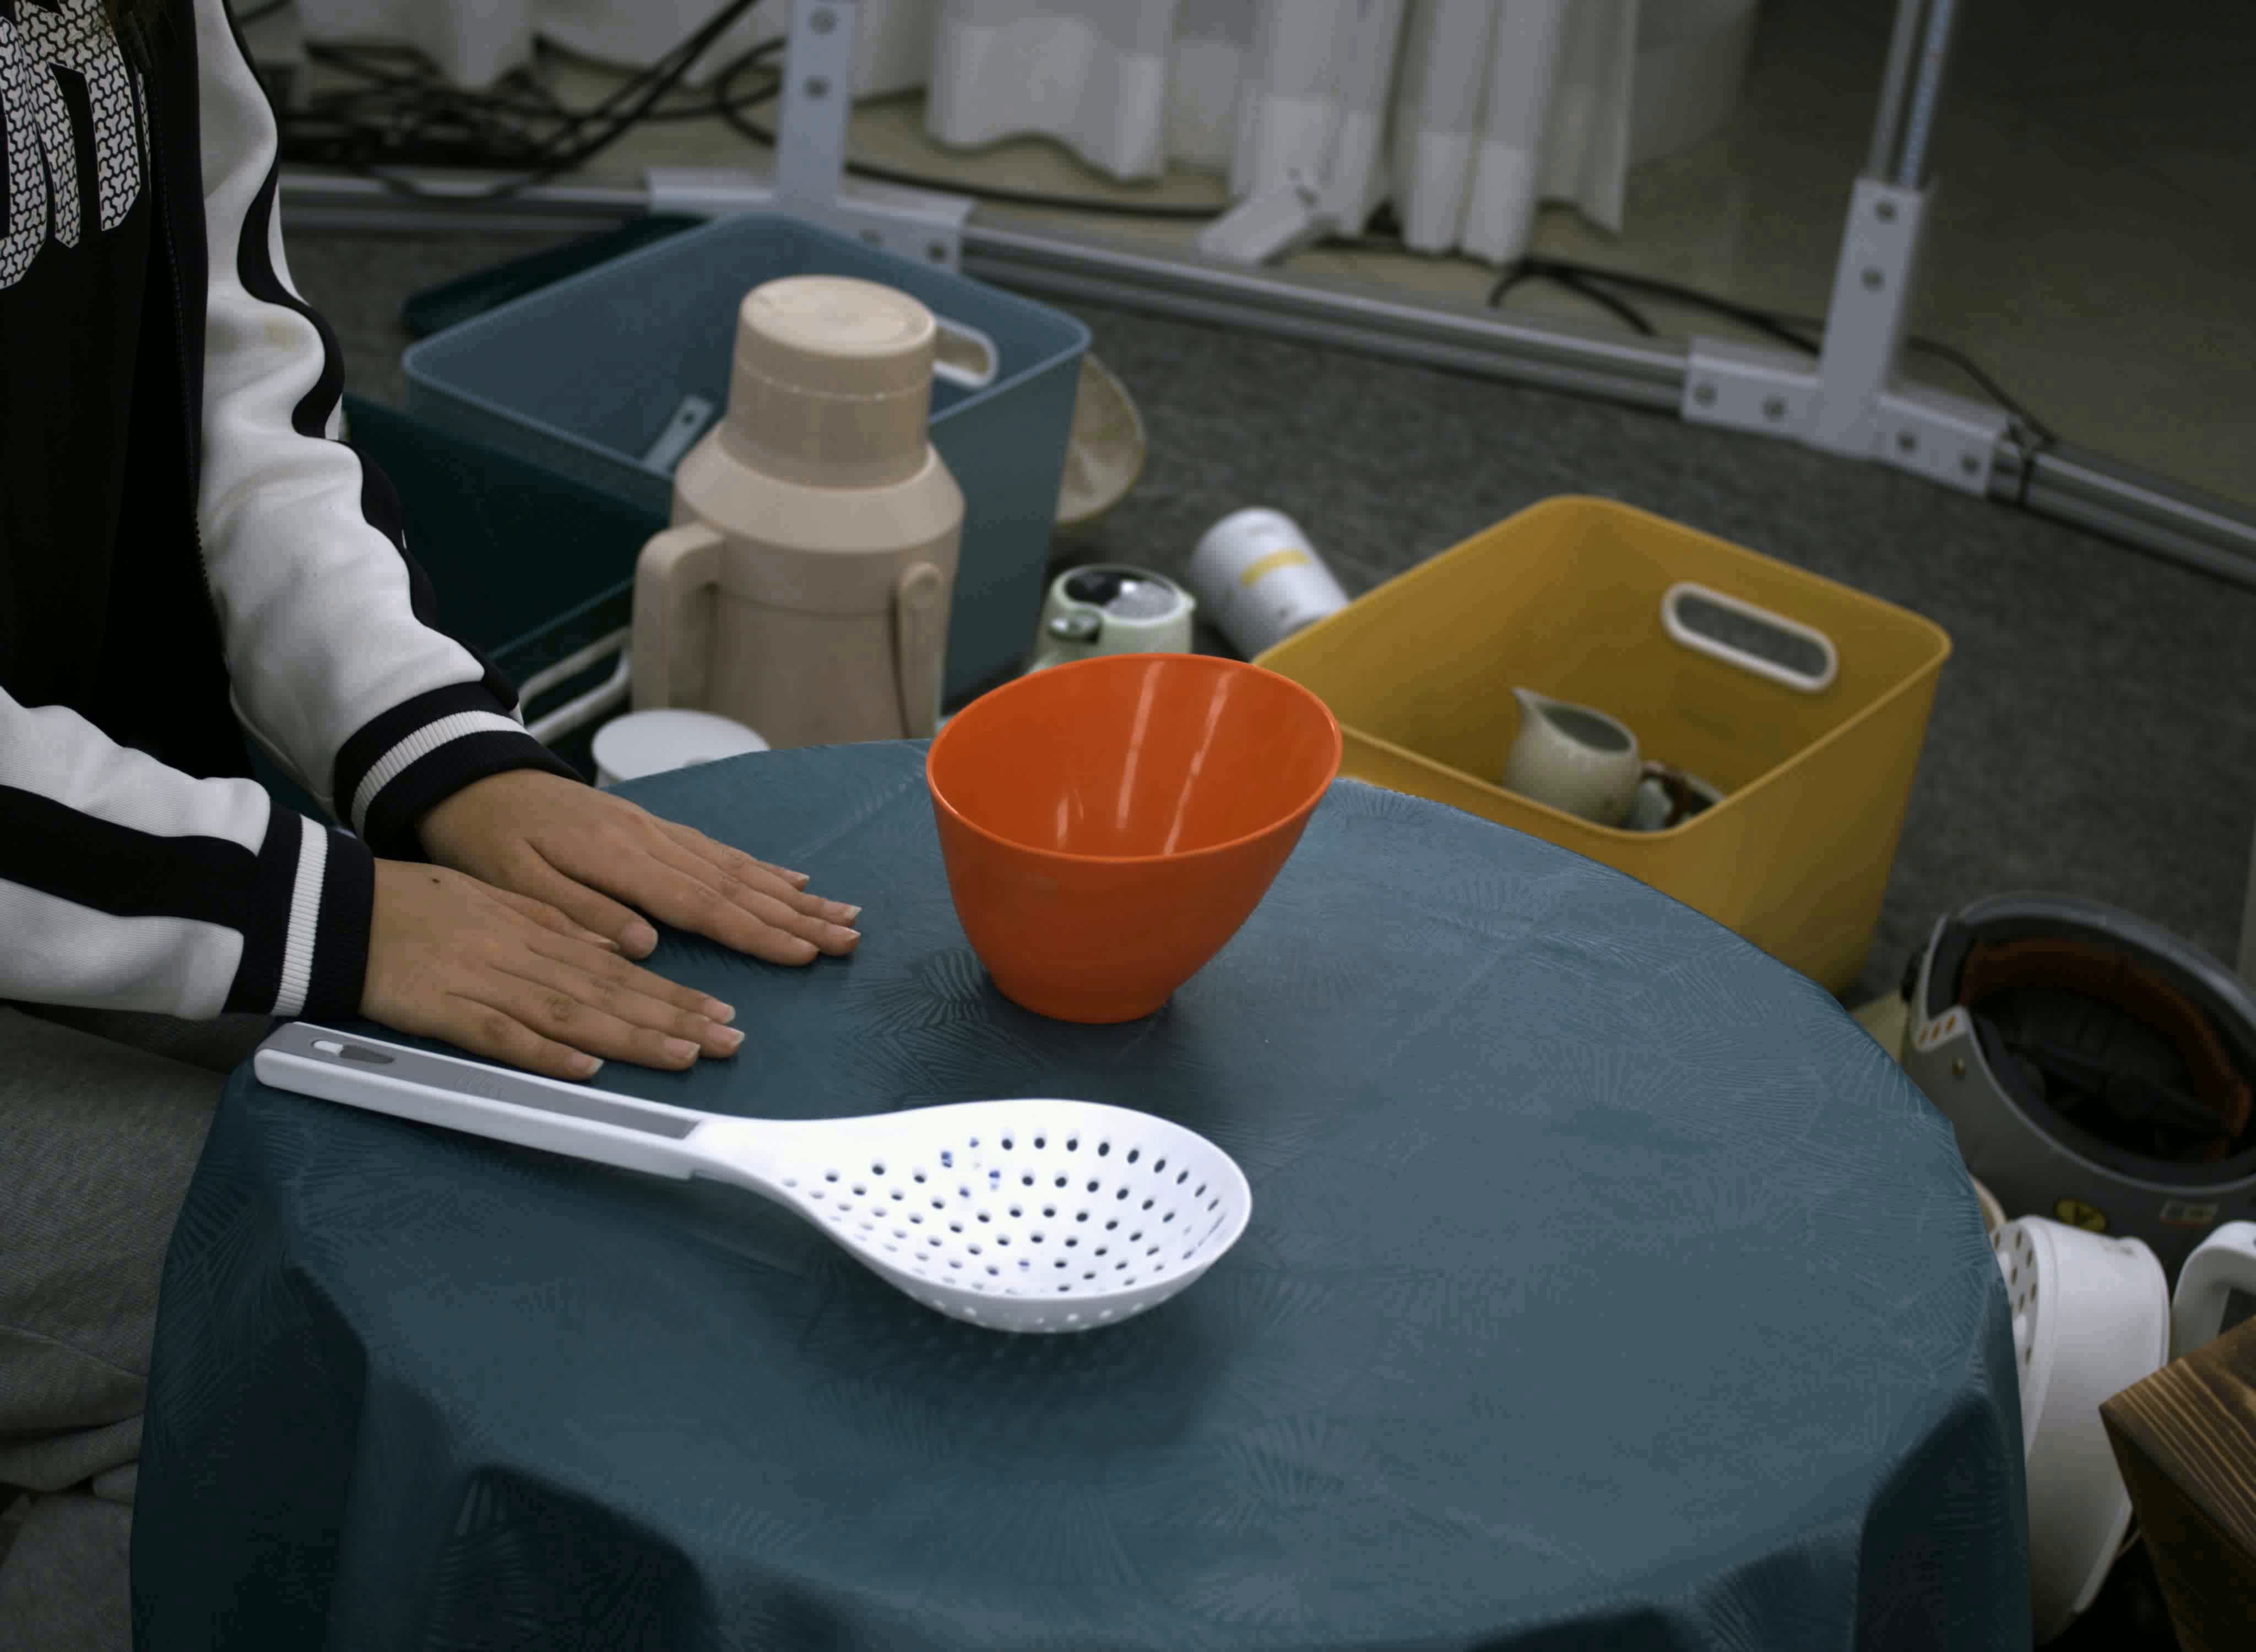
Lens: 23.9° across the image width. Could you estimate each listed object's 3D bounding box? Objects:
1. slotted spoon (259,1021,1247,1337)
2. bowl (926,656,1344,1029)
[{"bbox_3d":[-0.130,0.108,1.755,0.350,0.045,0.136,15,27,17],"label":"slotted spoon"},{"bbox_3d":[-0.001,0.012,1.912,0.147,0.104,0.149,4,29,-3],"label":"bowl"}]
